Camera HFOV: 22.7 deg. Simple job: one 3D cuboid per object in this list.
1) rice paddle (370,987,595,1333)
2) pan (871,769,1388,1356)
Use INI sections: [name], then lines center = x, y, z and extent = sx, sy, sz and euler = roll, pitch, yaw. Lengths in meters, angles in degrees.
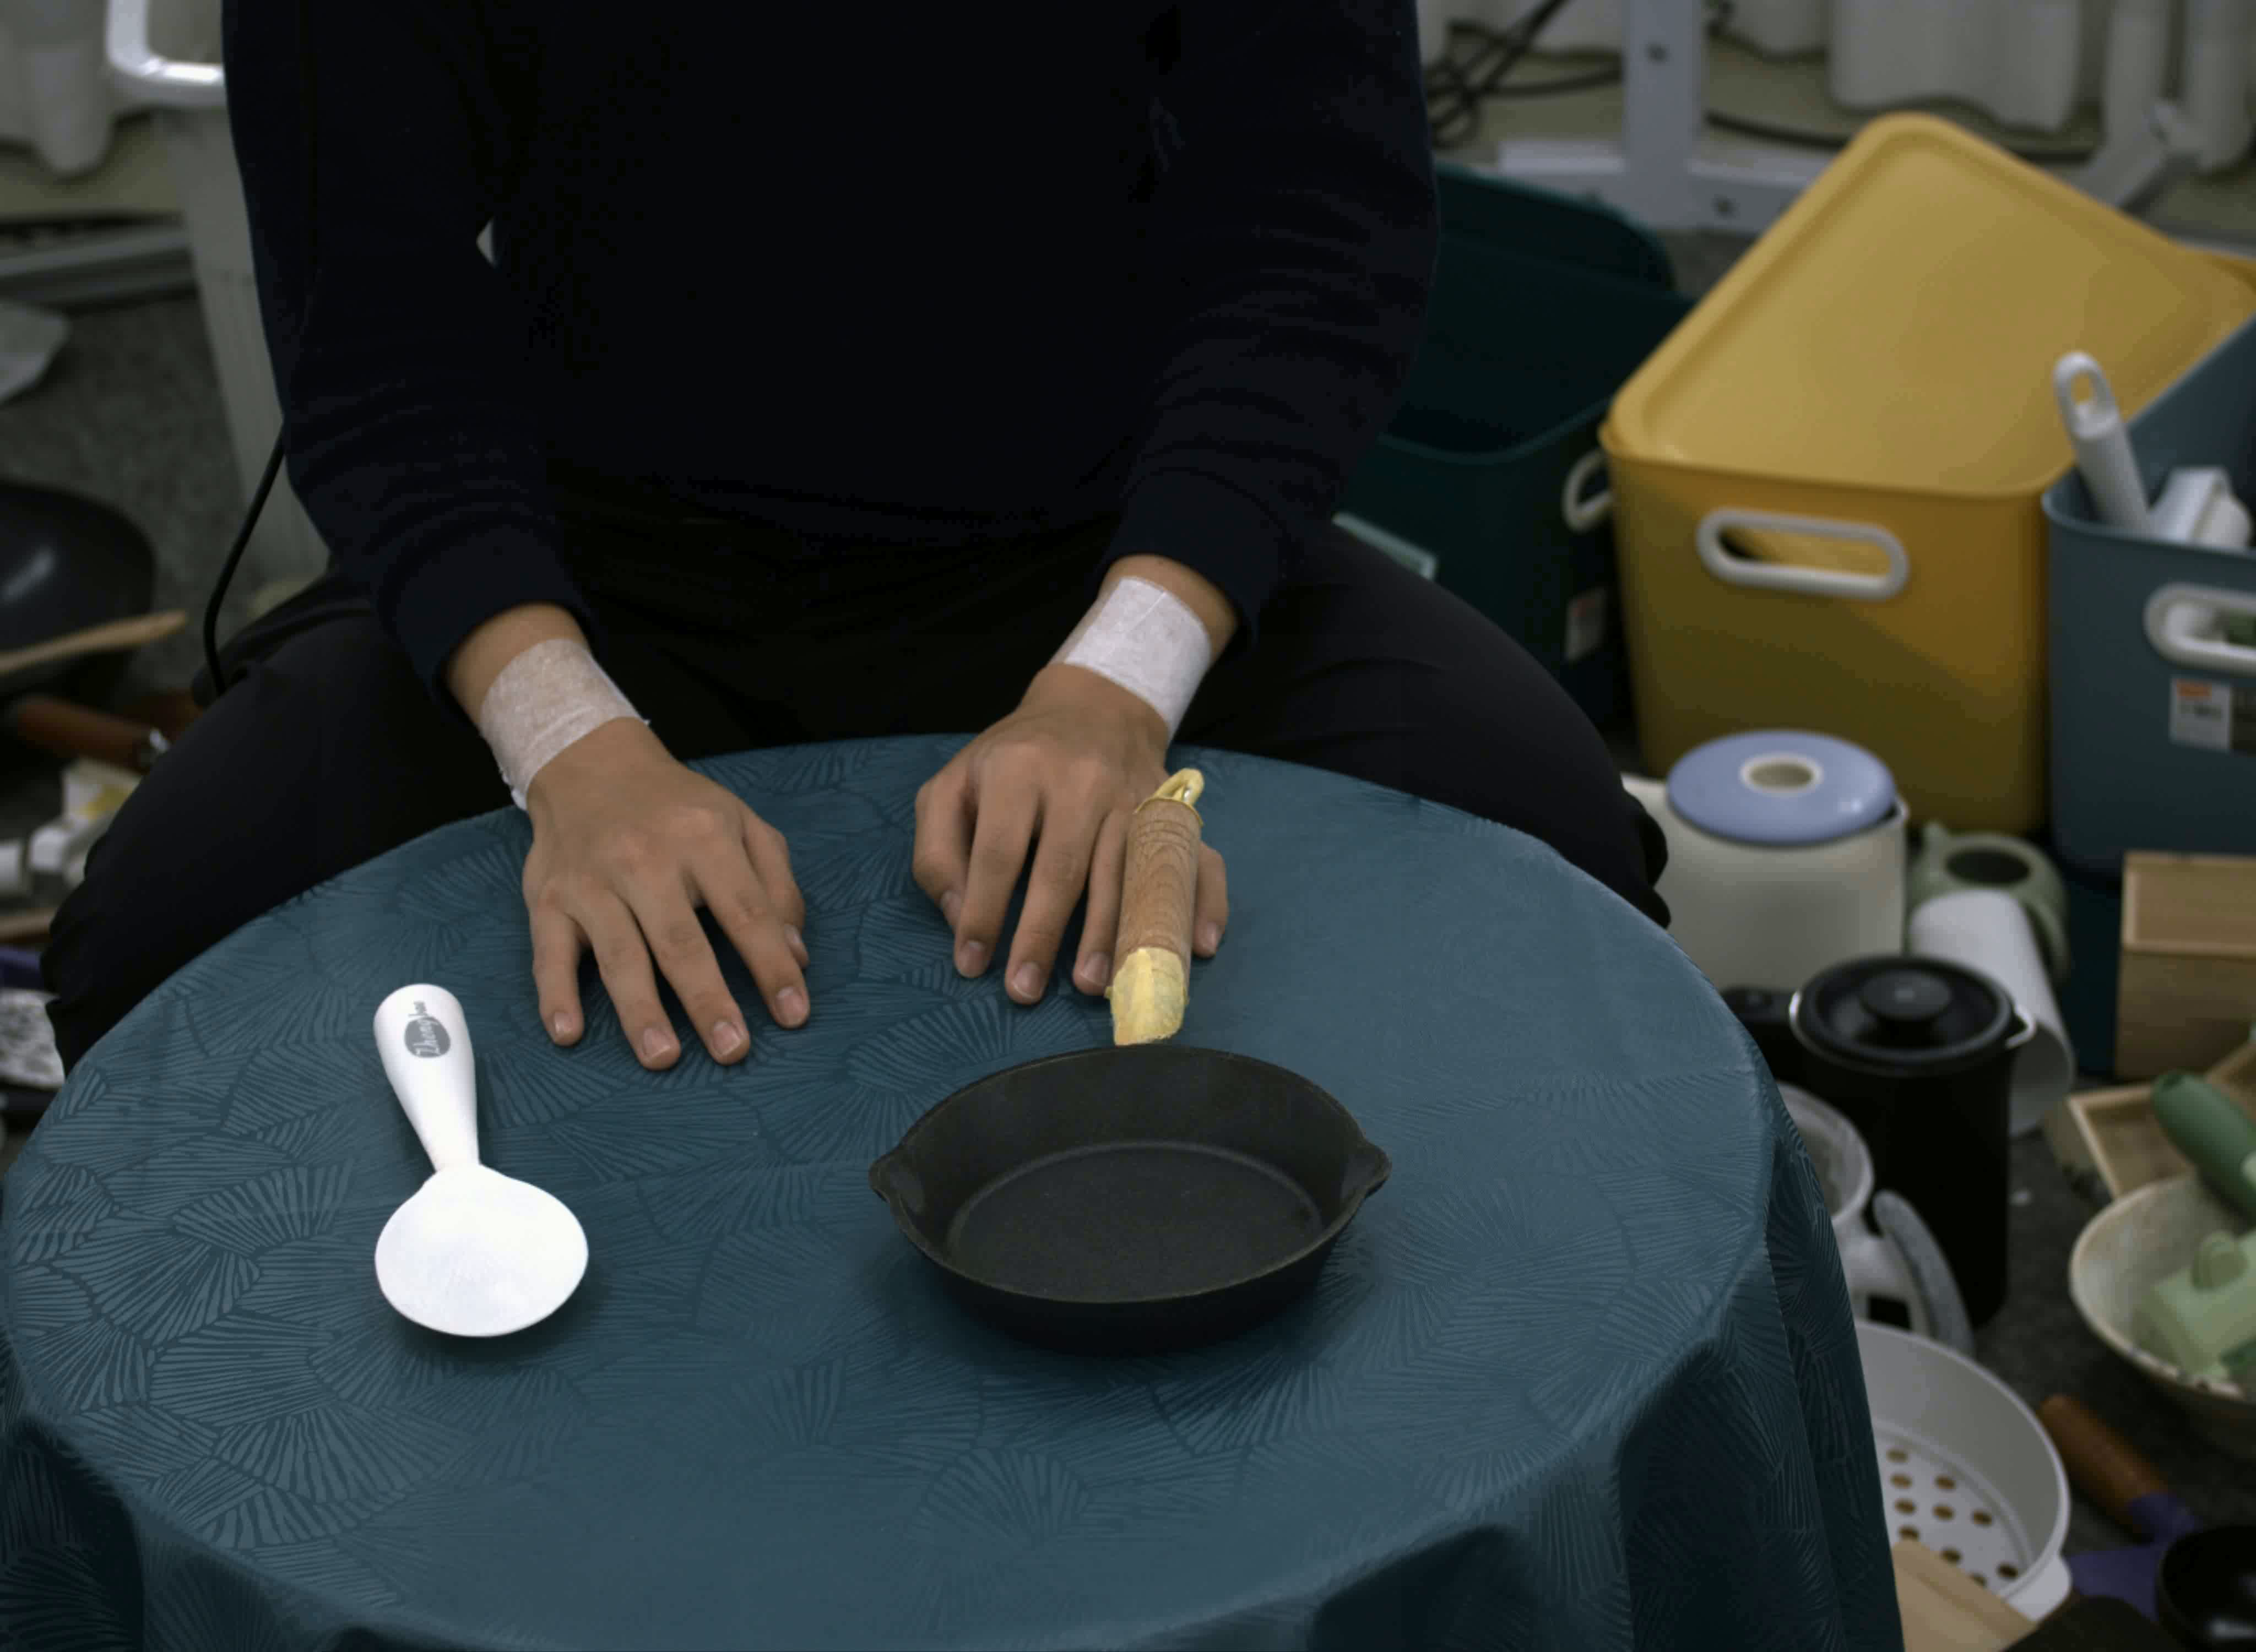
[rice paddle]
center = -0.222, 0.113, 1.869
extent = 0.069, 0.029, 0.207
euler = -11, 28, -11
[pan]
center = 0.008, 0.077, 1.893
extent = 0.168, 0.049, 0.329
euler = 0, 29, 6
